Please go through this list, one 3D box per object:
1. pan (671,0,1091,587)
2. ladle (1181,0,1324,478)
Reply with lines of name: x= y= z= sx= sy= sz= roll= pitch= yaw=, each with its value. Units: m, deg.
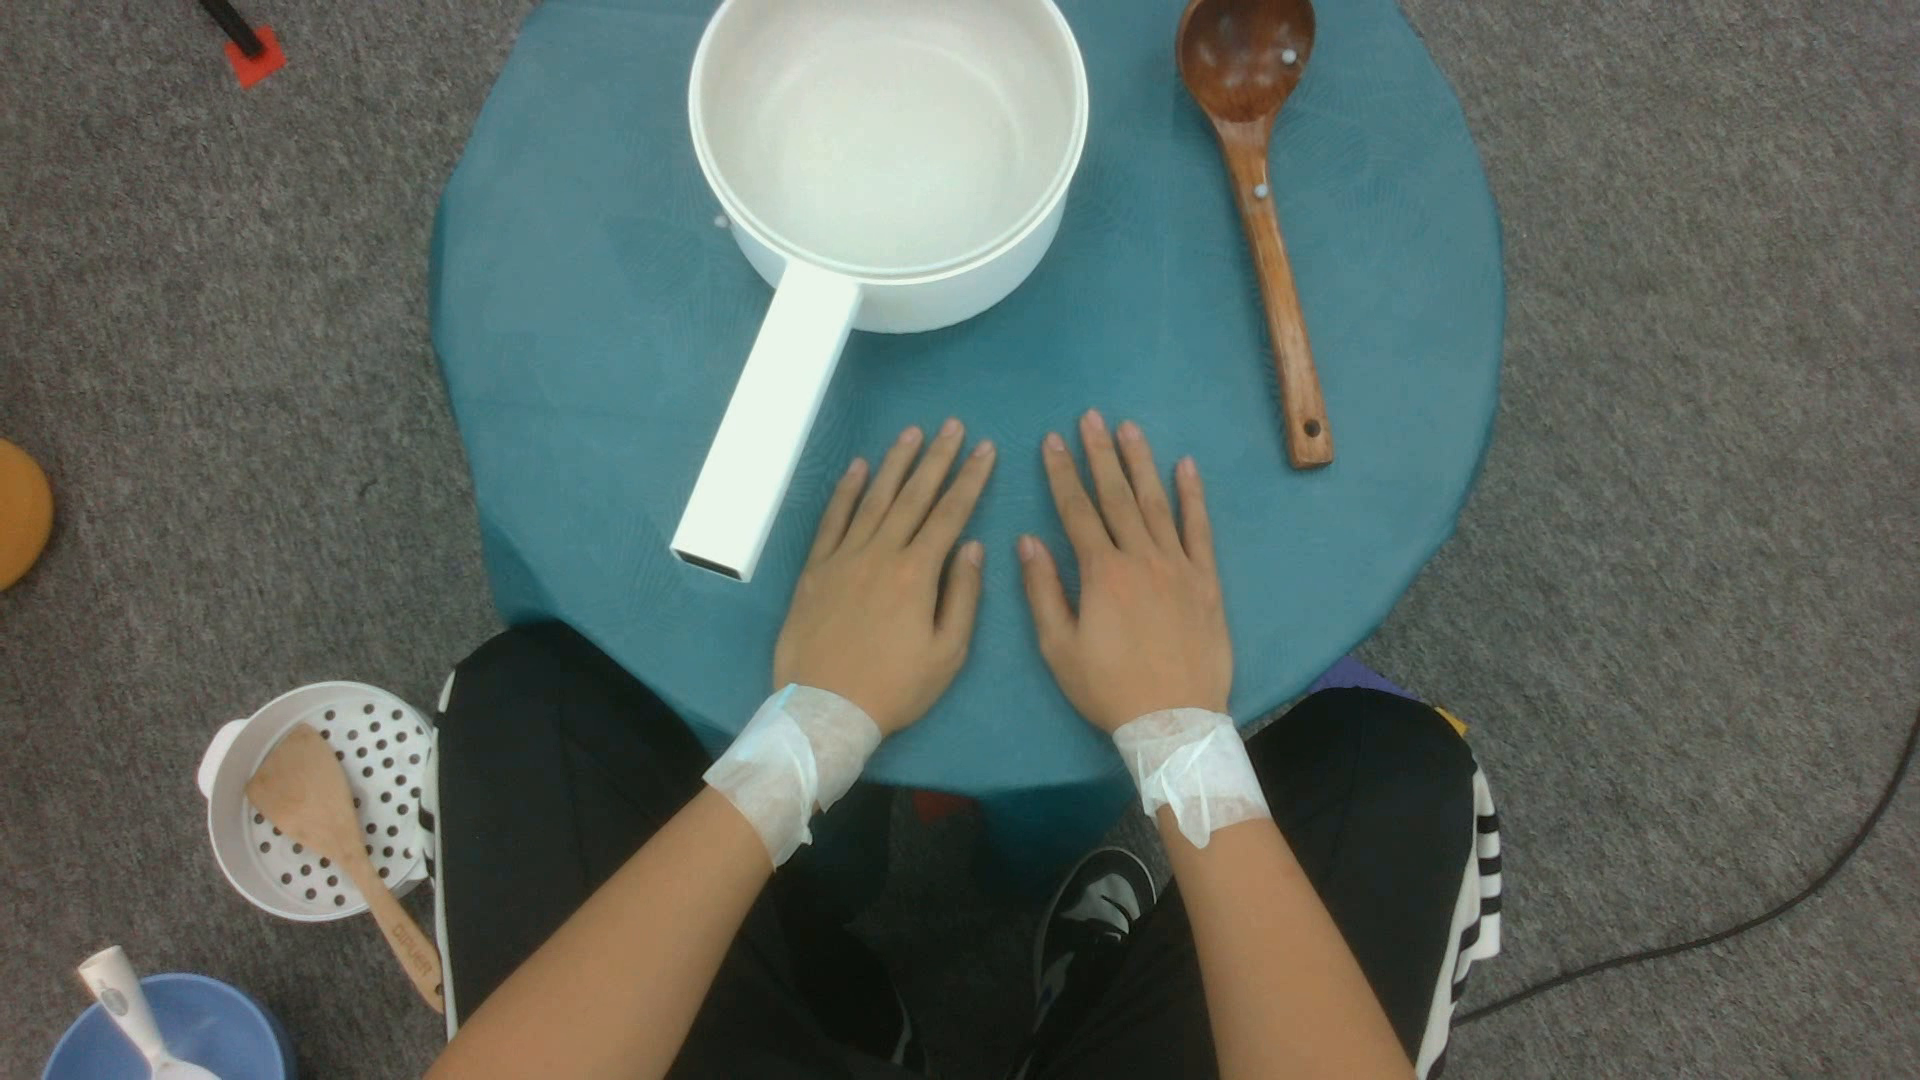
pan: x=-0.058 y=-0.138 z=0.738 sx=0.201 sy=0.102 sz=0.355 roll=19 pitch=77 yaw=4
ladle: x=0.178 y=-0.175 z=0.759 sx=0.082 sy=0.076 sz=0.274 roll=-6 pitch=74 yaw=-3
